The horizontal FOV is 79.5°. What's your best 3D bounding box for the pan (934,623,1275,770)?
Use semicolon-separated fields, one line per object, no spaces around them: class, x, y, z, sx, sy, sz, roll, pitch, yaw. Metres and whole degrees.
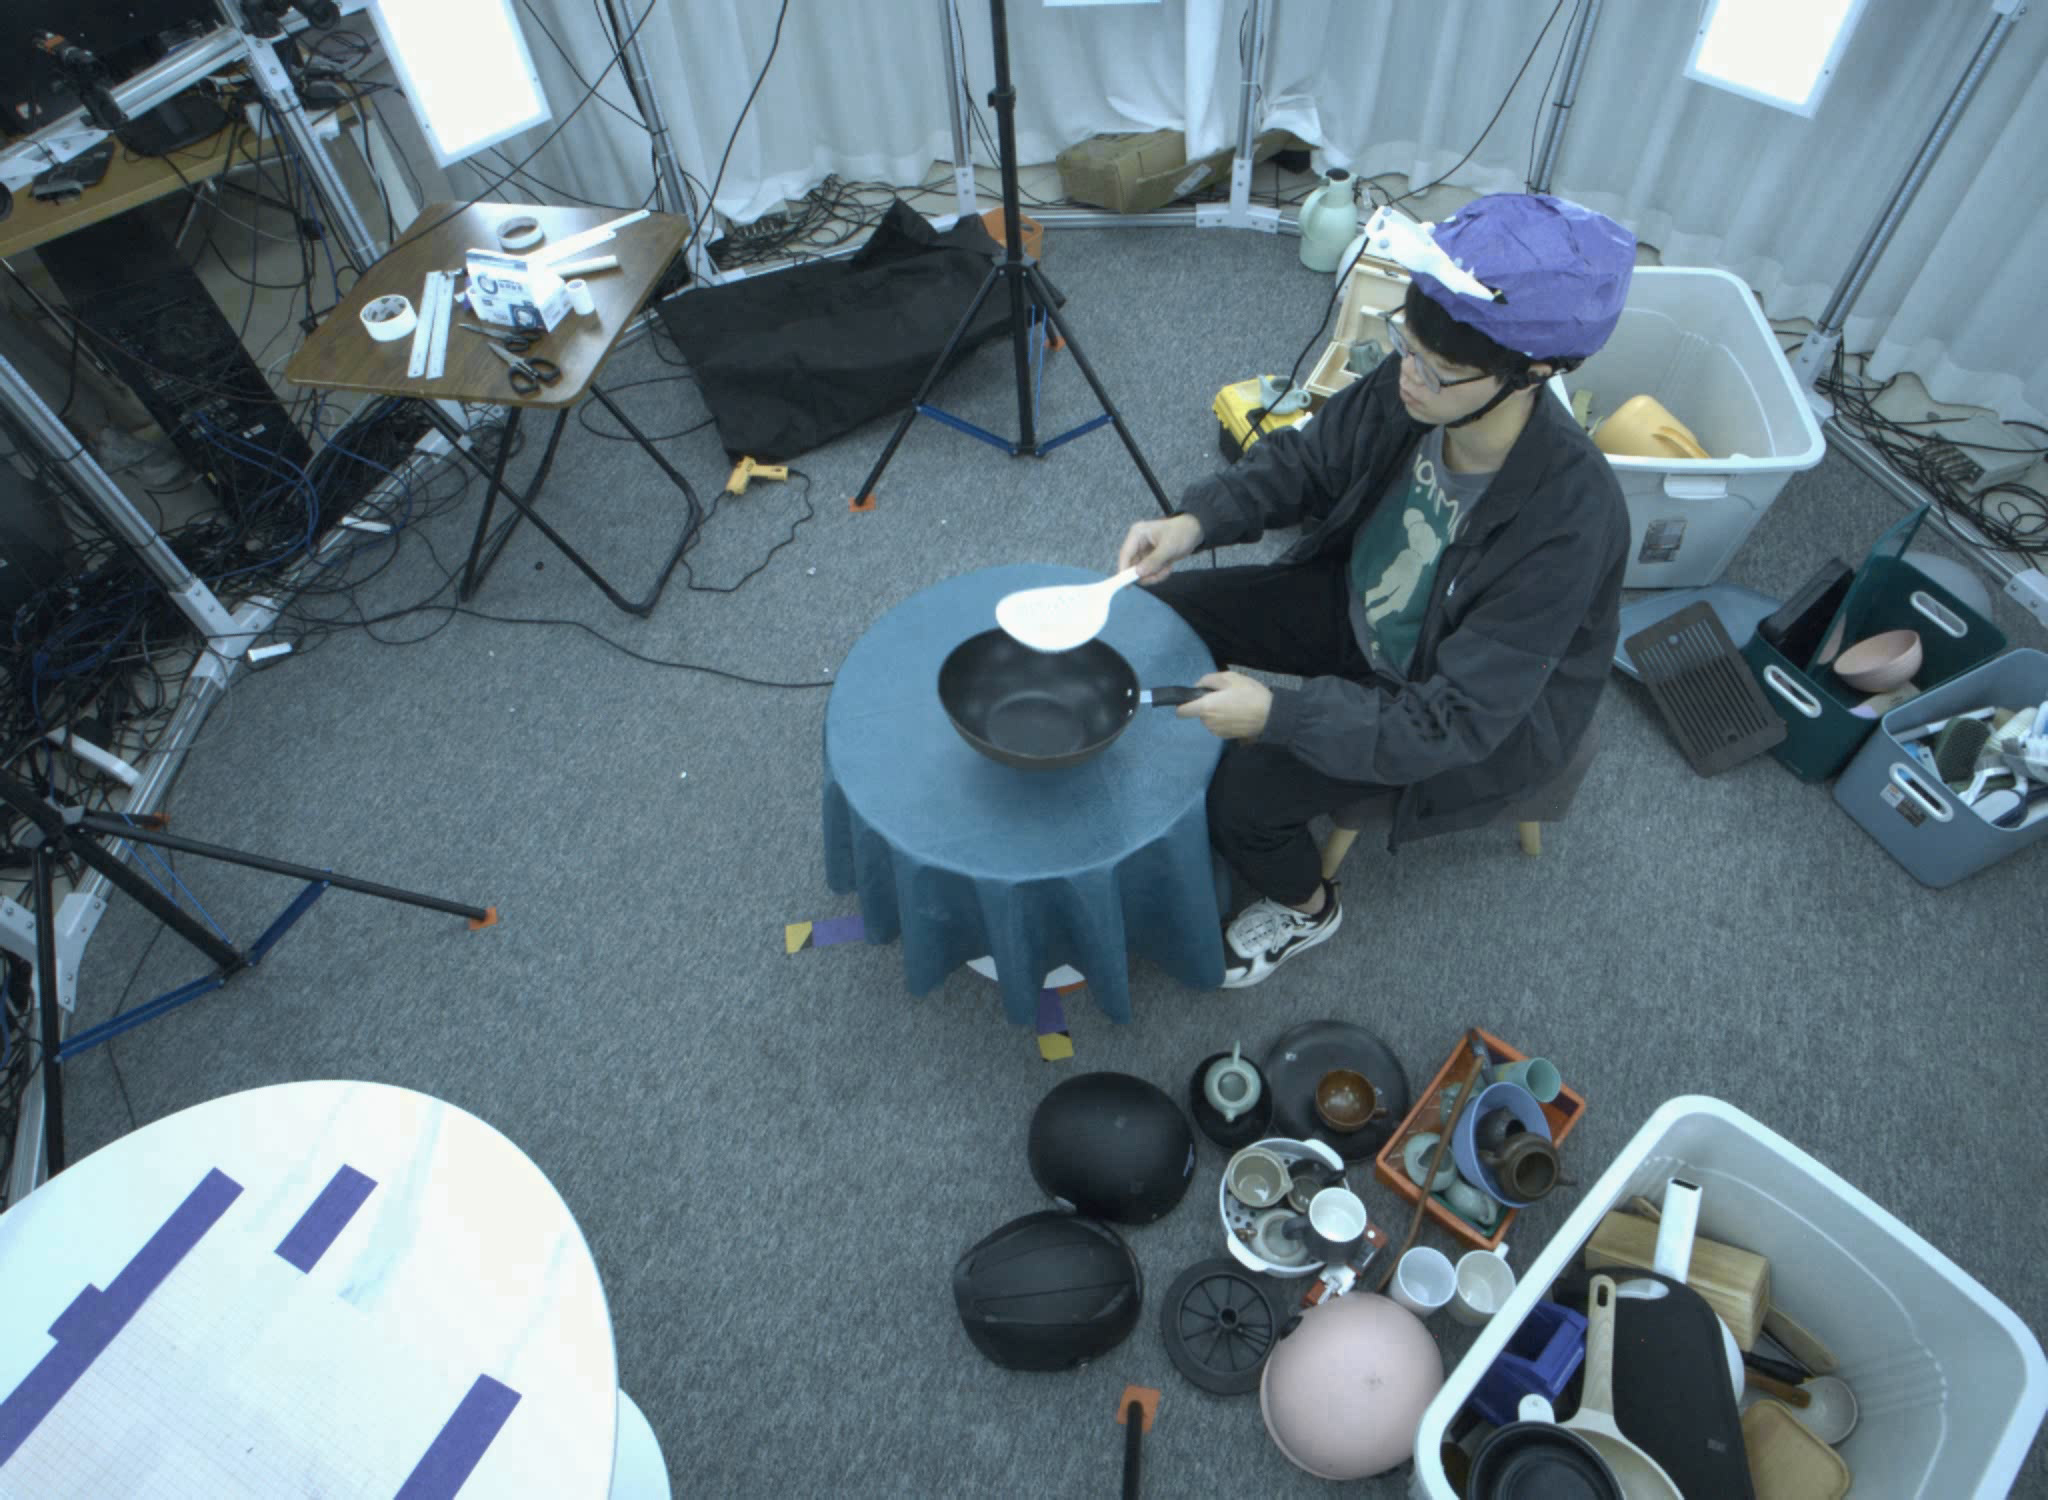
pan;0.107;-0.058;1.691;0.465;0.087;0.285;4;43;-4

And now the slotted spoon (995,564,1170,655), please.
slotted spoon;0.104;-0.206;1.693;0.134;0.051;0.352;31;47;28
